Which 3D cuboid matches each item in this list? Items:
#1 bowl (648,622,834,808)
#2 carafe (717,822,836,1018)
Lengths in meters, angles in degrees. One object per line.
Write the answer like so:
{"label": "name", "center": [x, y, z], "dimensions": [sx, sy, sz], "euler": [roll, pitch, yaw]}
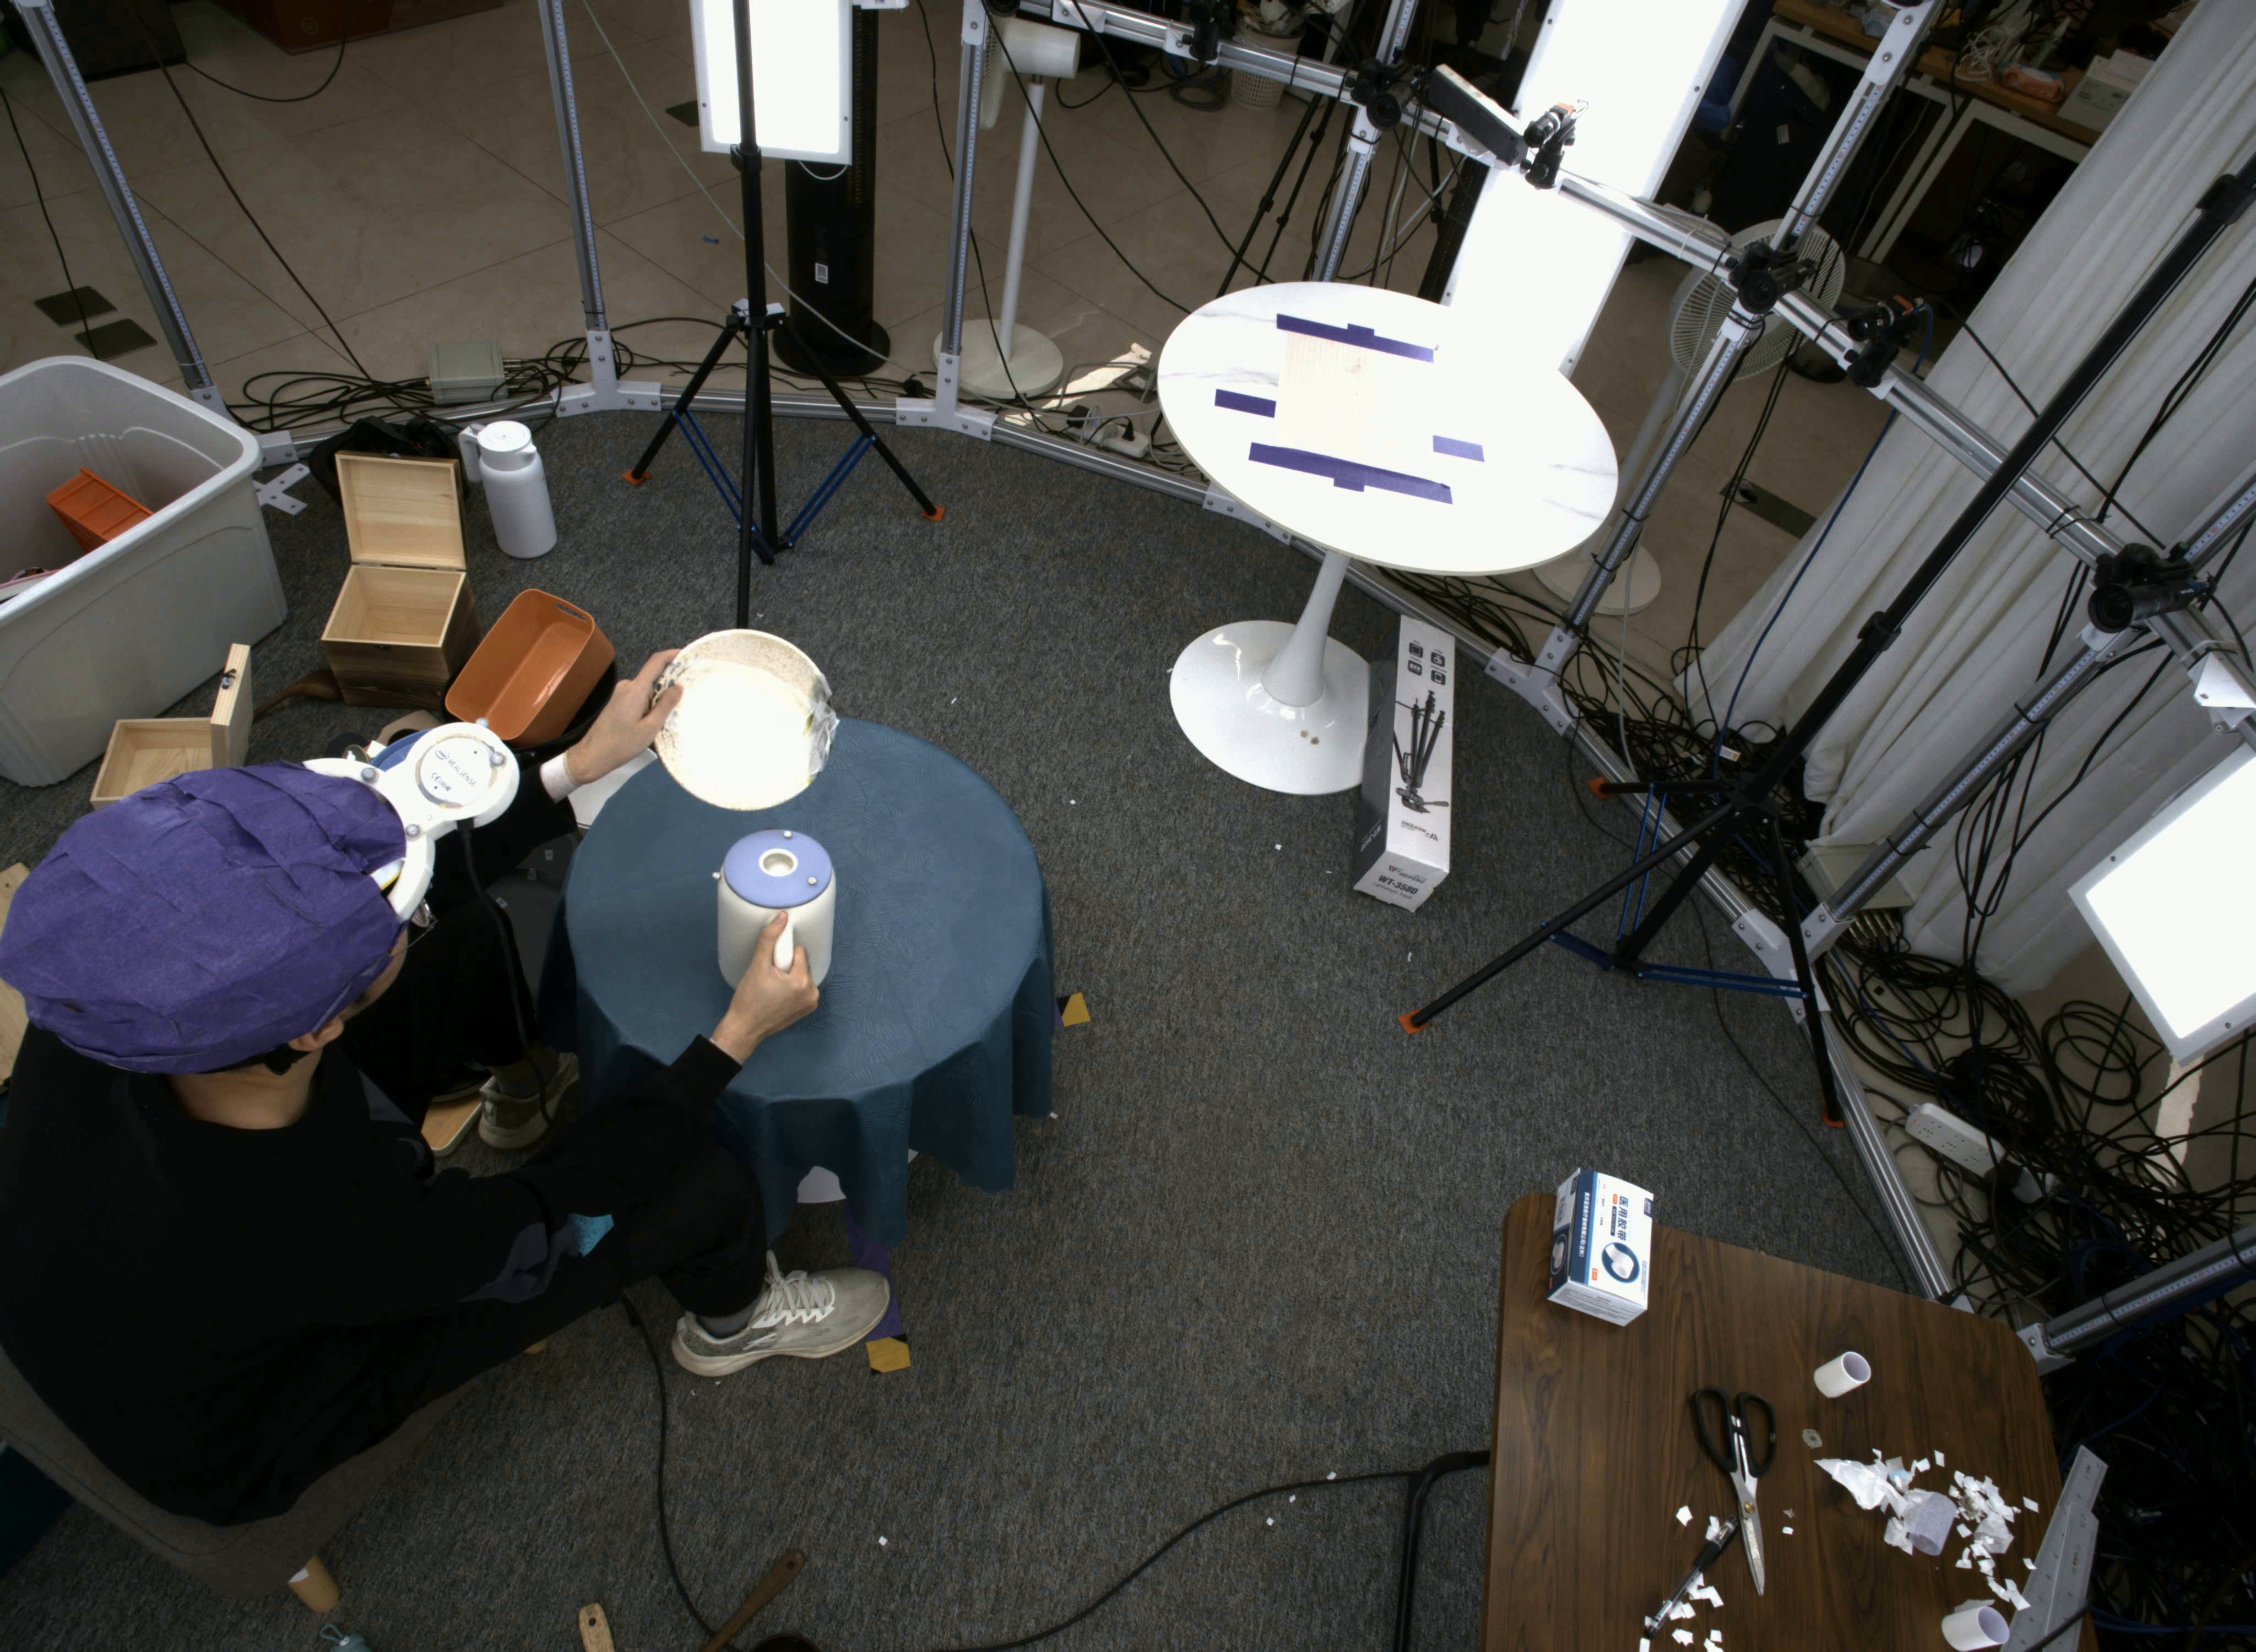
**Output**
{"label": "bowl", "center": [-0.442, -0.123, 1.473], "dimensions": [0.205, 0.076, 0.206], "euler": [0, 91, -20]}
{"label": "carafe", "center": [-0.400, 0.118, 1.482], "dimensions": [0.133, 0.186, 0.186], "euler": [-4, 50, -19]}
